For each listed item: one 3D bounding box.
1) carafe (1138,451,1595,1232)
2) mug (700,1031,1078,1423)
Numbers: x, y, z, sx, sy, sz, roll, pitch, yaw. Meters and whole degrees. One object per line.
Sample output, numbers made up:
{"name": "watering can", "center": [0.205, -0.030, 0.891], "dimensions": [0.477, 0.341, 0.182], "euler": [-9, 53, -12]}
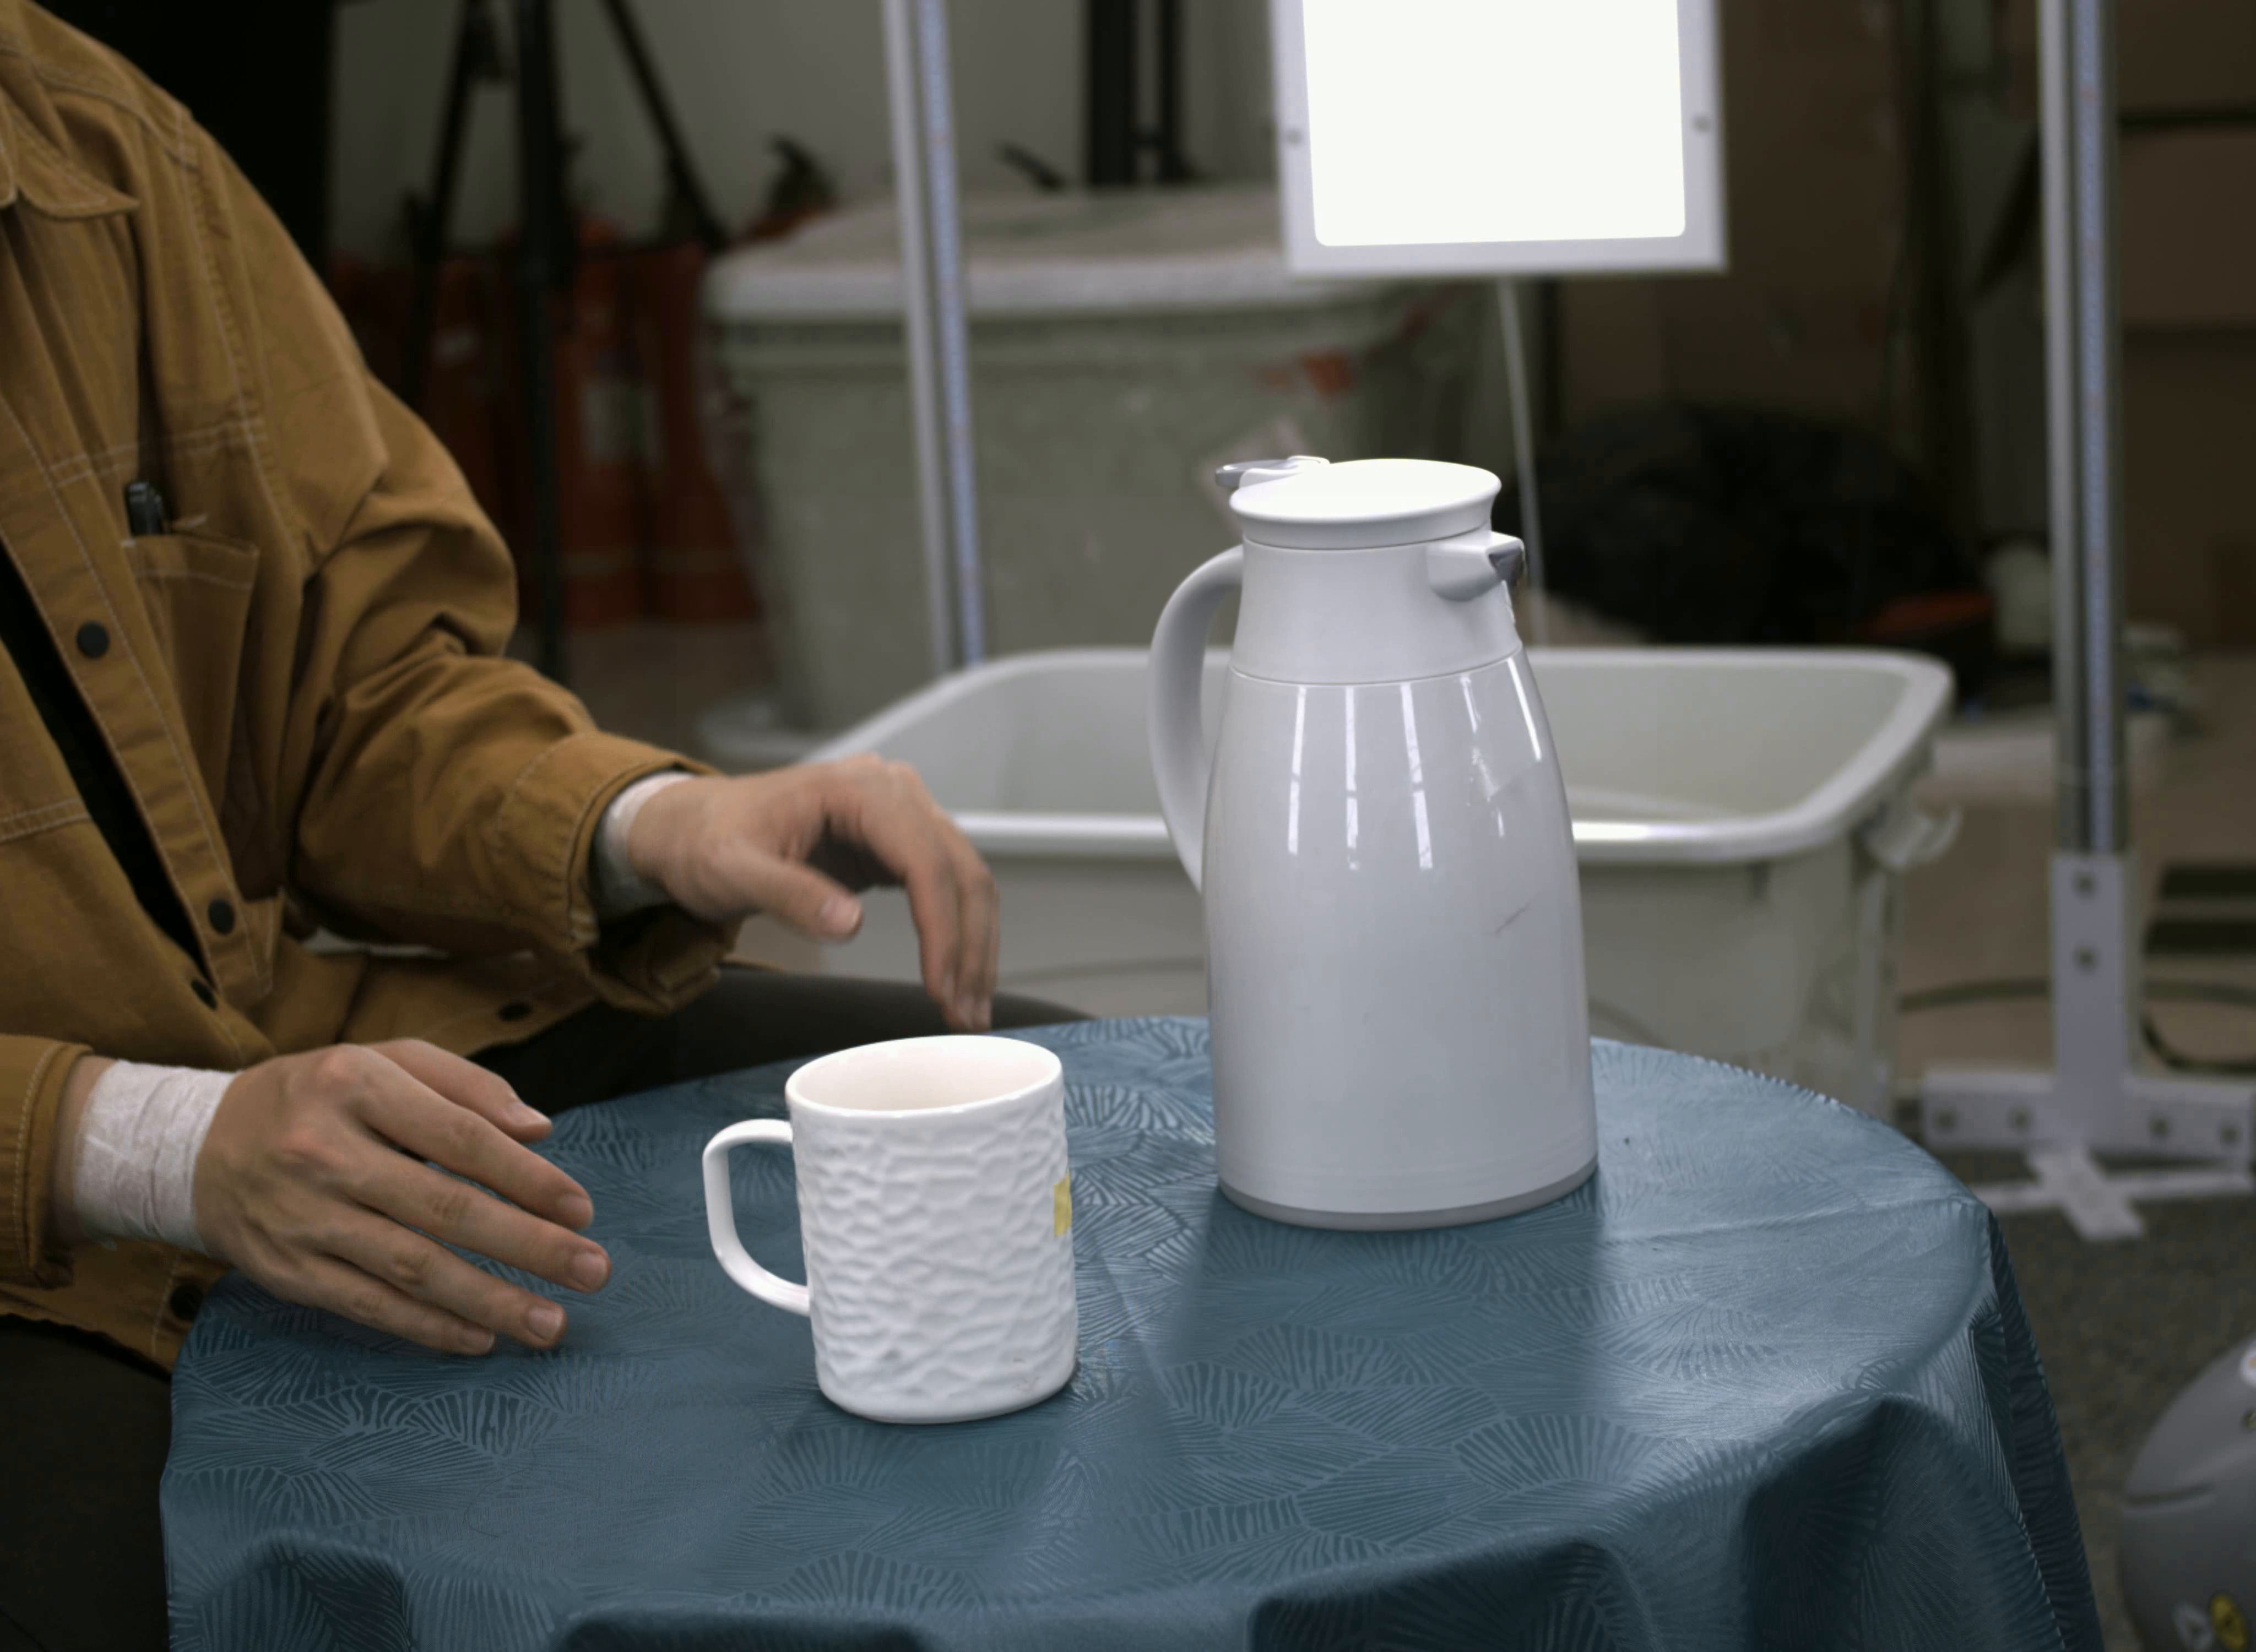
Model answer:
{"name": "carafe", "center": [0.072, -0.003, 1.876], "dimensions": [0.171, 0.249, 0.129], "euler": [9, 20, 44]}
{"name": "mug", "center": [-0.075, 0.124, 1.717], "dimensions": [0.119, 0.102, 0.083], "euler": [0, 15, 17]}
